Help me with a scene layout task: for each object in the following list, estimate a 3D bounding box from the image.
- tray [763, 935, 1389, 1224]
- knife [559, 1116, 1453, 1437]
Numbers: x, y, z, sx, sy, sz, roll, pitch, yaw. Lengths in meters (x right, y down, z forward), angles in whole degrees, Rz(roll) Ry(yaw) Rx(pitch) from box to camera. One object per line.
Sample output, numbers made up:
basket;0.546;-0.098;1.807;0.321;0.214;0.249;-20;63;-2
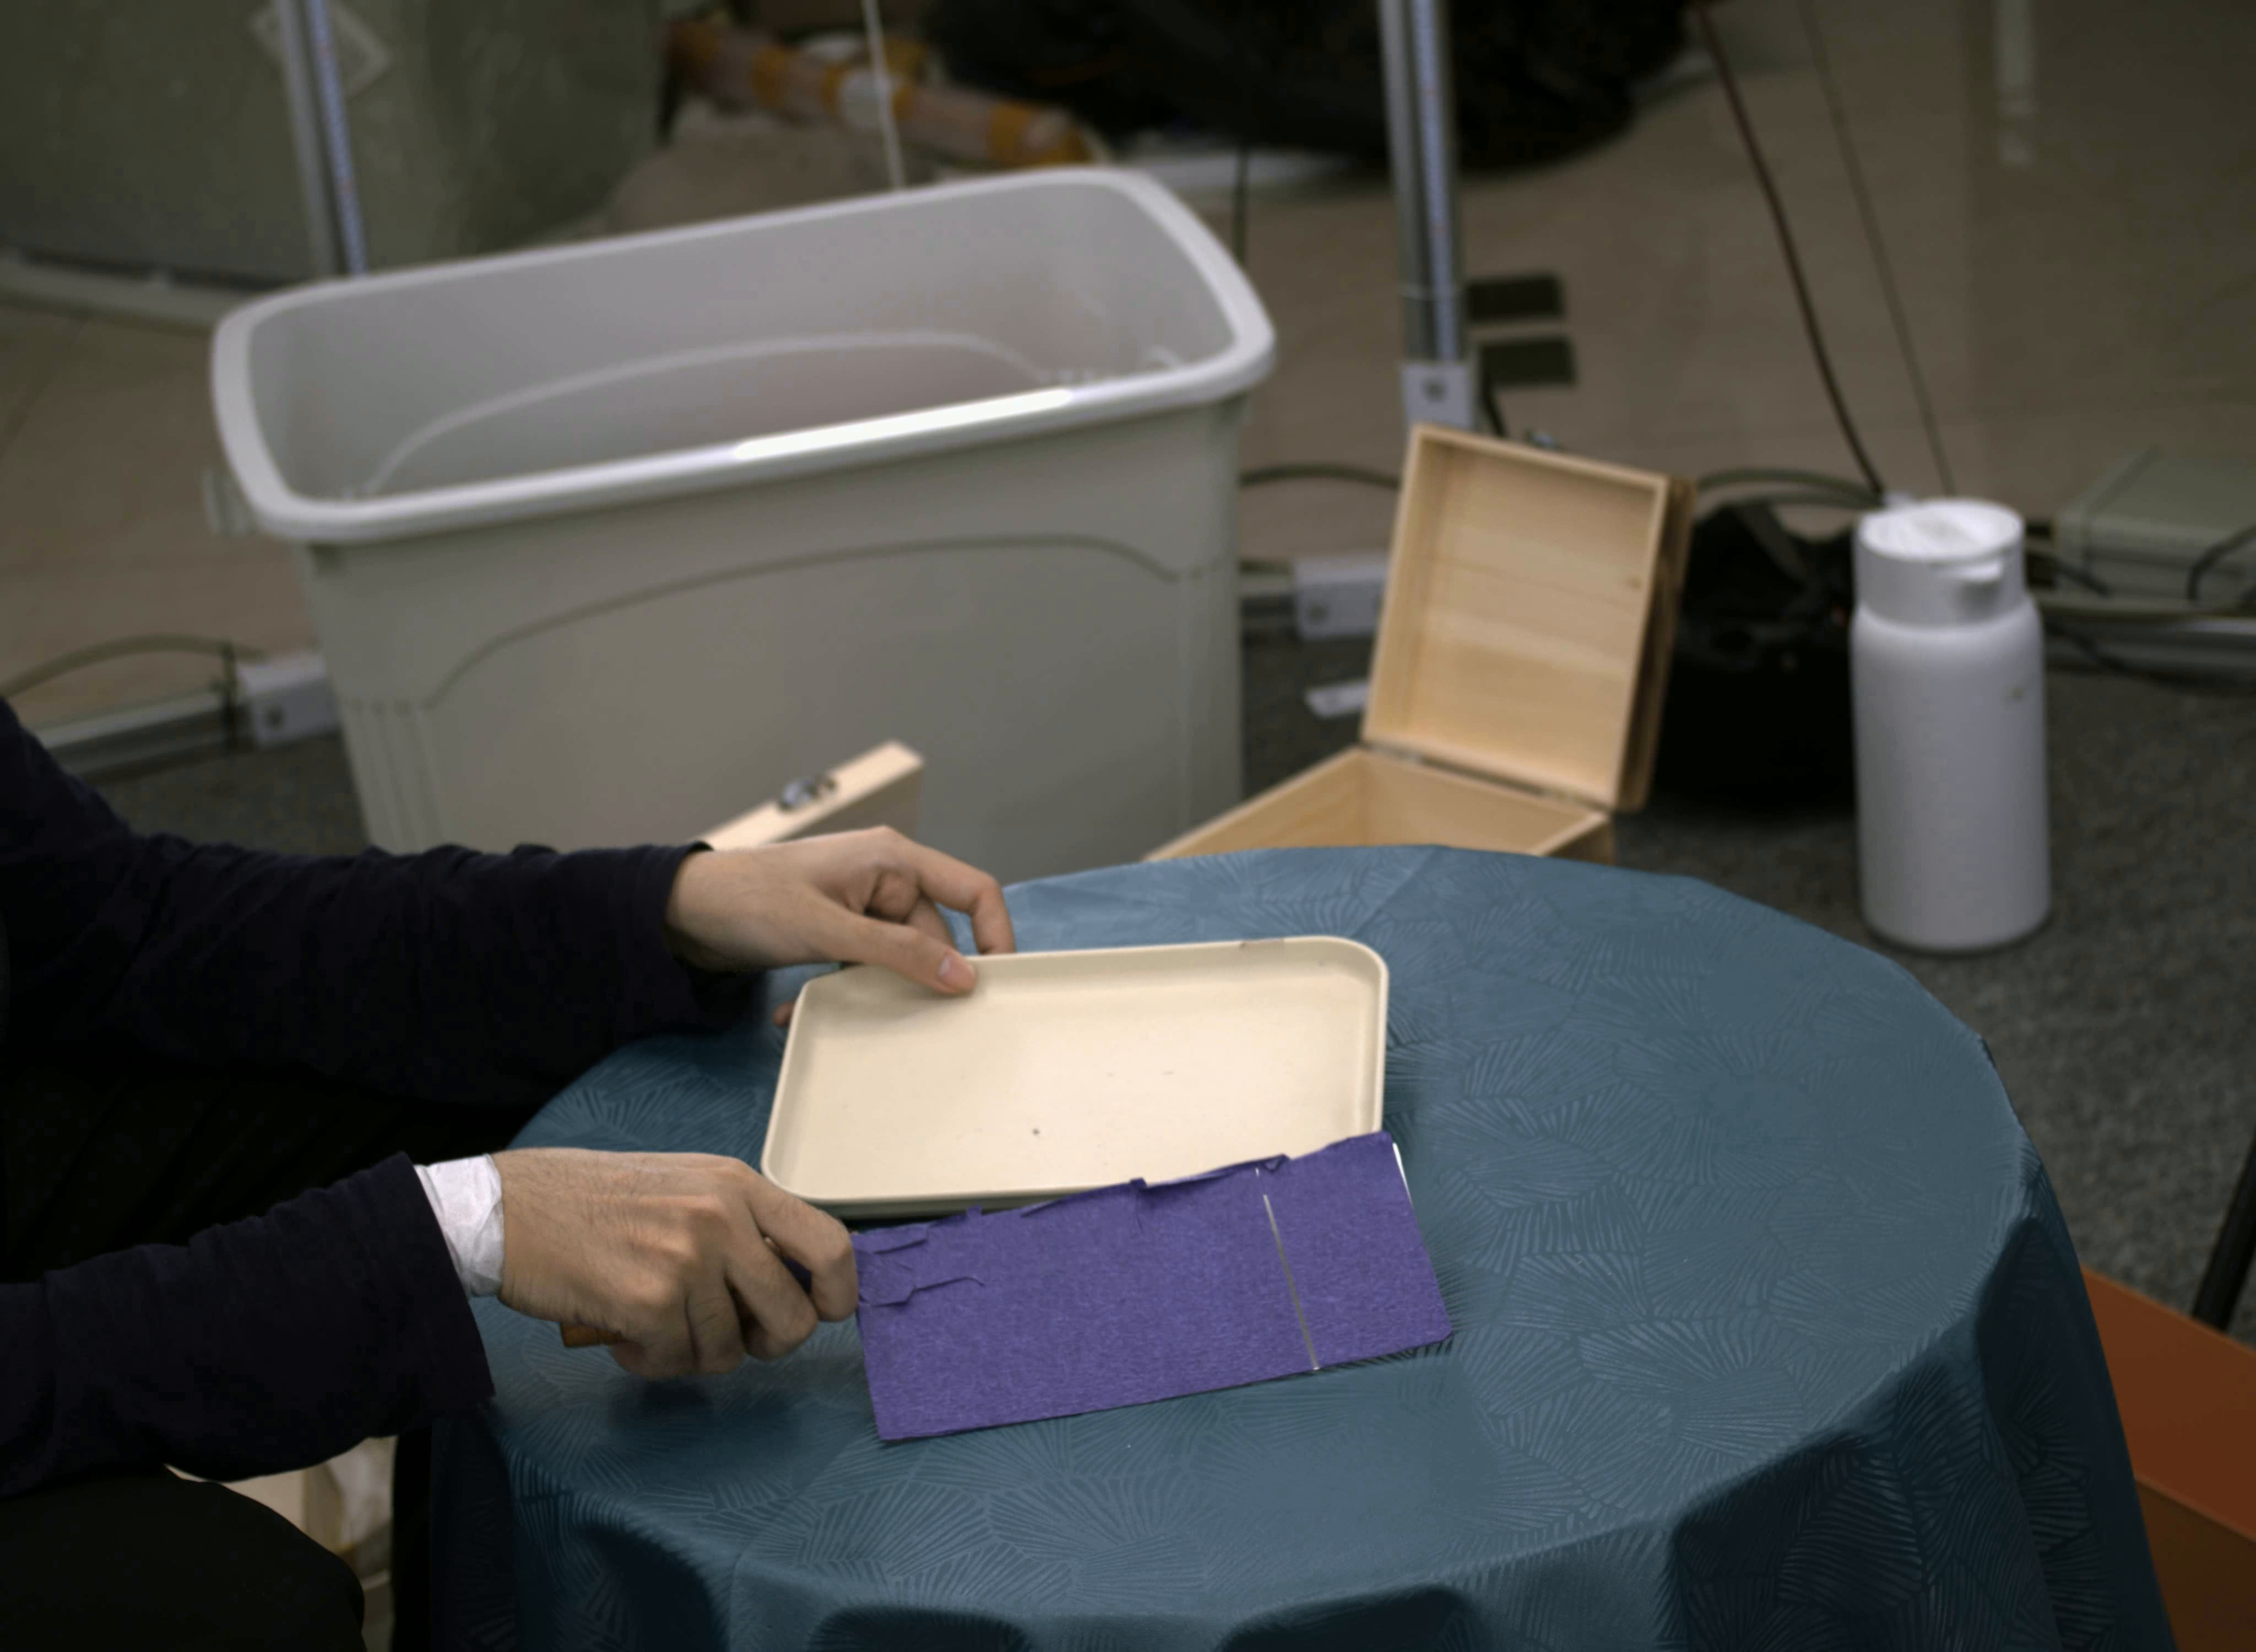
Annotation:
tray;-0.018;0.100;2.202;0.239;0.018;0.168;-3;32;6
knife;-0.044;0.171;2.030;0.314;0.033;0.102;-12;50;-4
